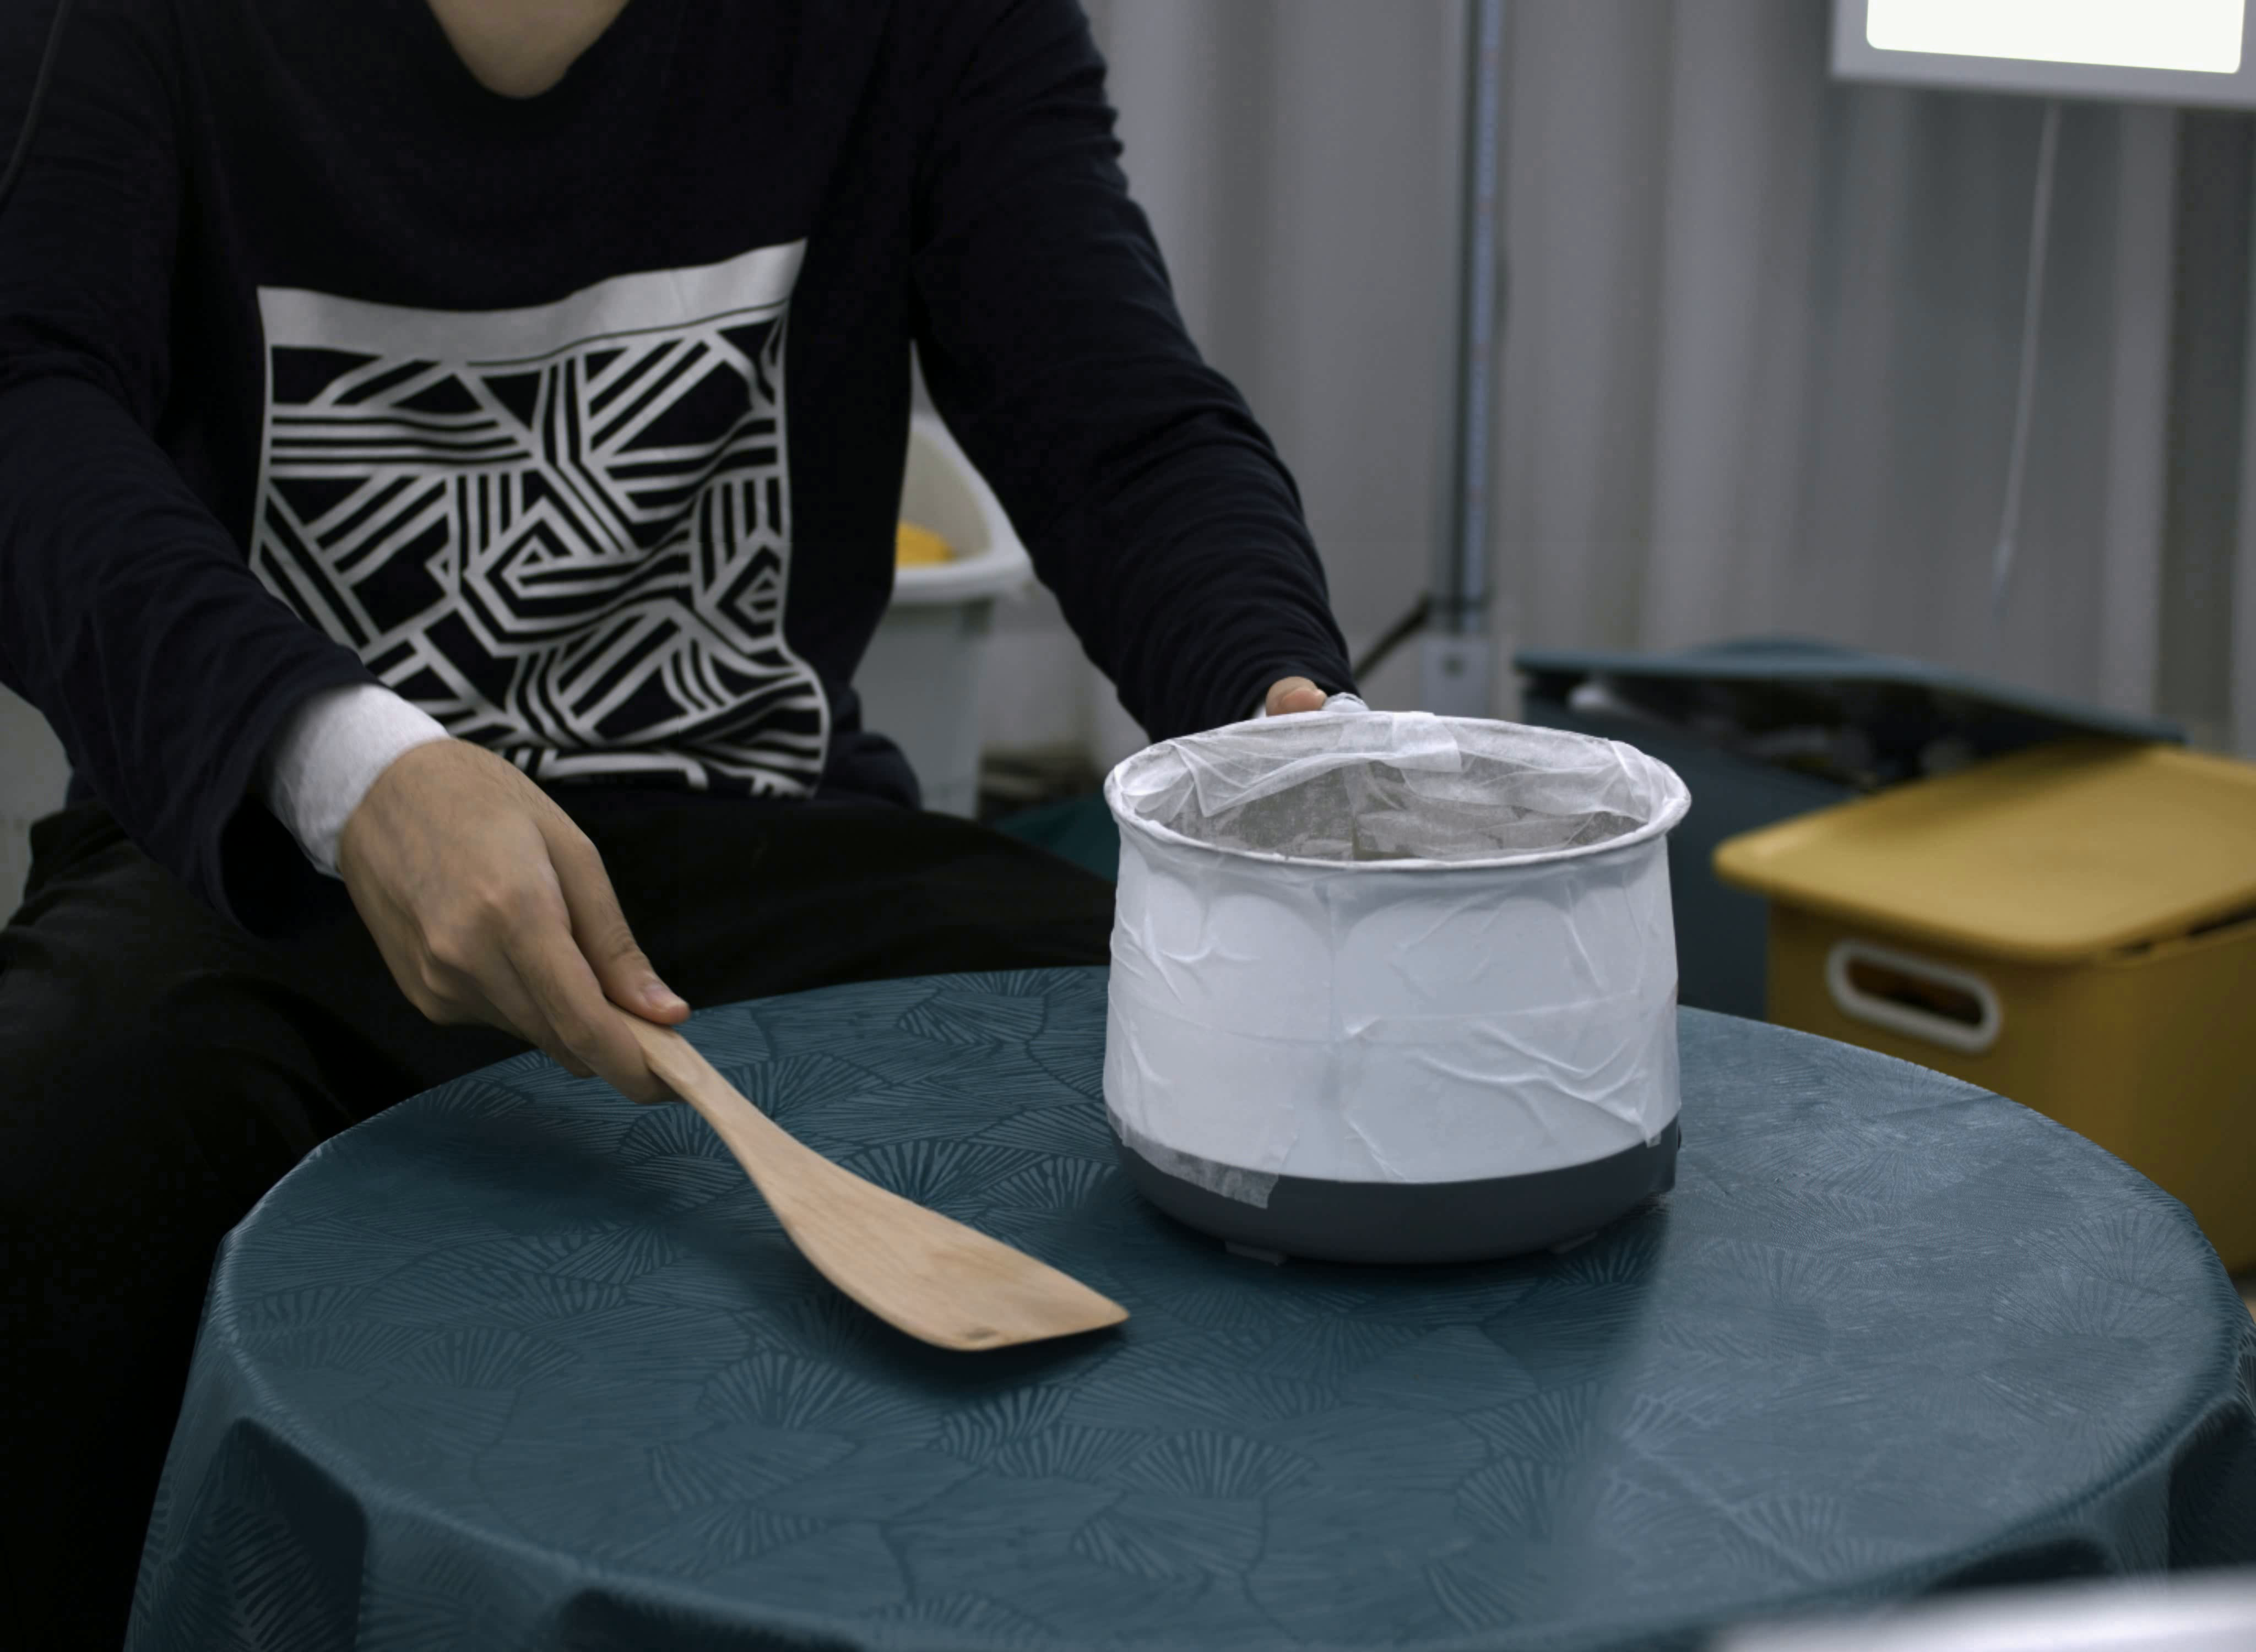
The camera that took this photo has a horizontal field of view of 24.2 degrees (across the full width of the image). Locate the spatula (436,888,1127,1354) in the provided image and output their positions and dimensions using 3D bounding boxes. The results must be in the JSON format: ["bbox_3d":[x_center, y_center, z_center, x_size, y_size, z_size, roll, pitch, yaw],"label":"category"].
[{"bbox_3d":[-0.117,0.085,1.582,0.080,0.016,0.323,1,24,-42],"label":"spatula"}]

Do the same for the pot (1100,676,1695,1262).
[{"bbox_3d":[0.076,0.039,1.625,0.178,0.138,0.232,-1,17,-9],"label":"pot"}]
